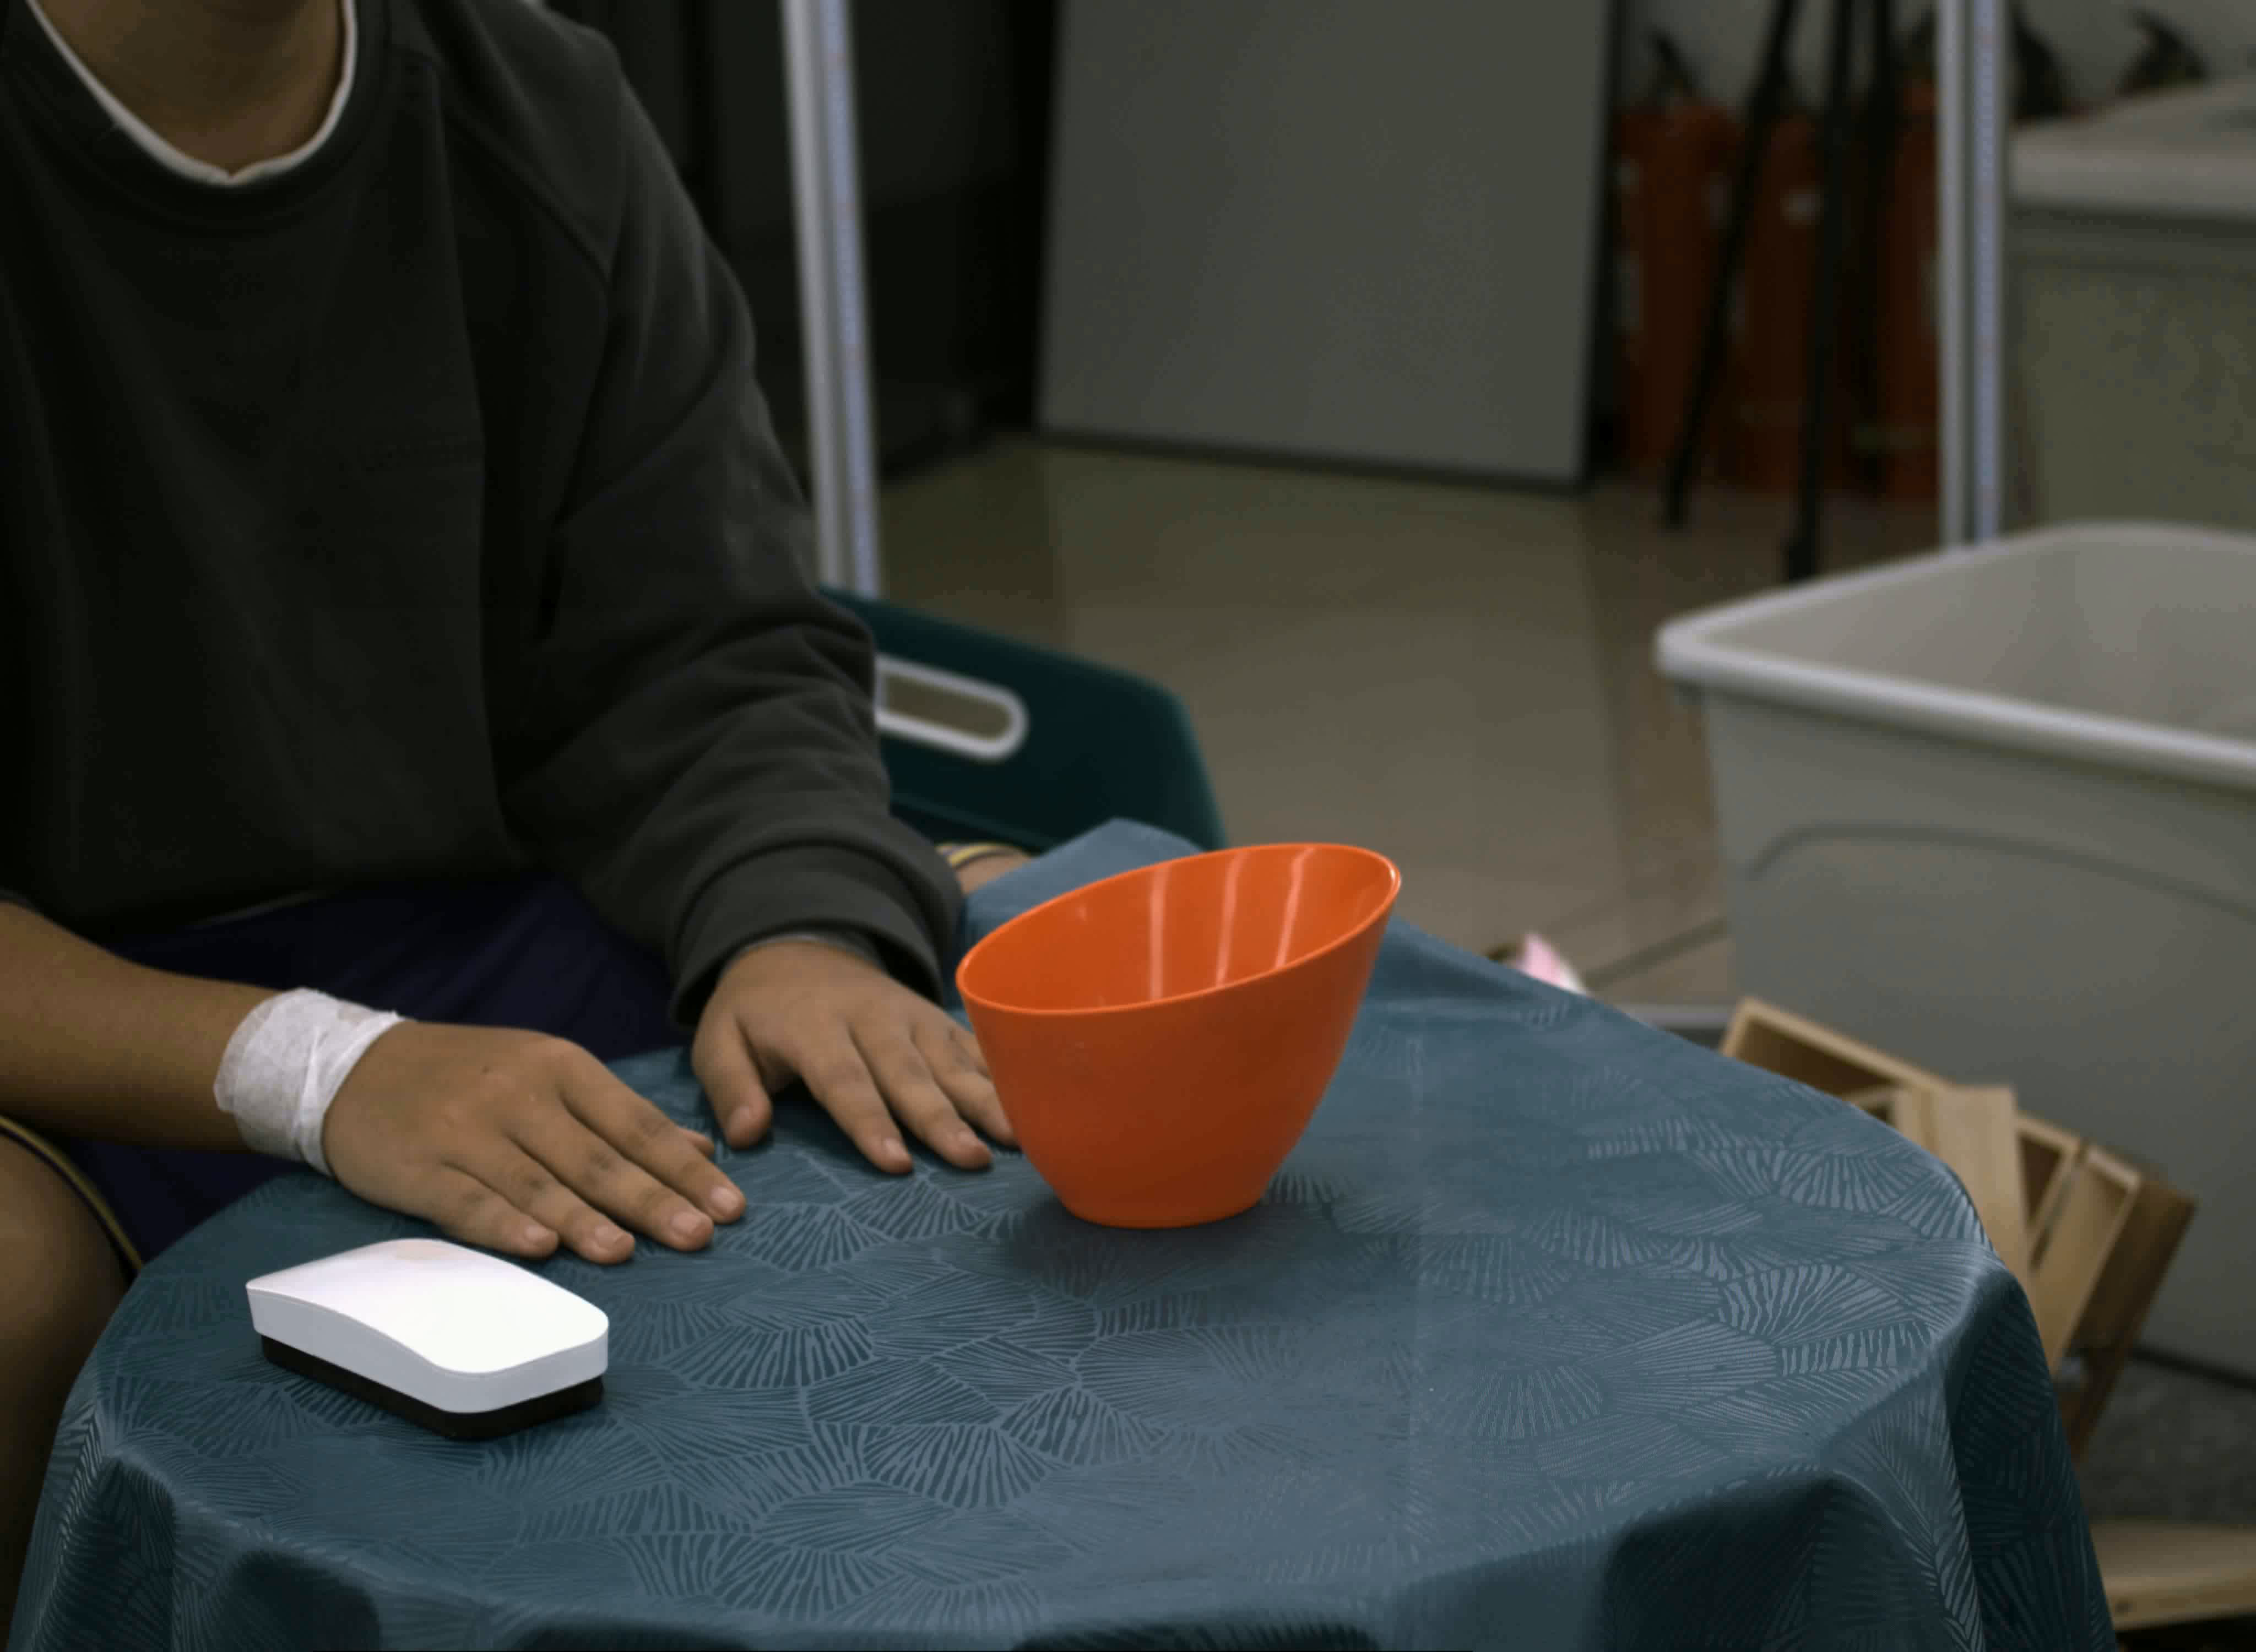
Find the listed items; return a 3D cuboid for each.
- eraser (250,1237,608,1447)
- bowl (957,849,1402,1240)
[{"bbox_3d":[-0.210,0.152,1.635,0.062,0.035,0.132,-12,17,-35],"label":"eraser"},{"bbox_3d":[0.020,0.073,1.749,0.146,0.106,0.148,-5,13,0],"label":"bowl"}]
